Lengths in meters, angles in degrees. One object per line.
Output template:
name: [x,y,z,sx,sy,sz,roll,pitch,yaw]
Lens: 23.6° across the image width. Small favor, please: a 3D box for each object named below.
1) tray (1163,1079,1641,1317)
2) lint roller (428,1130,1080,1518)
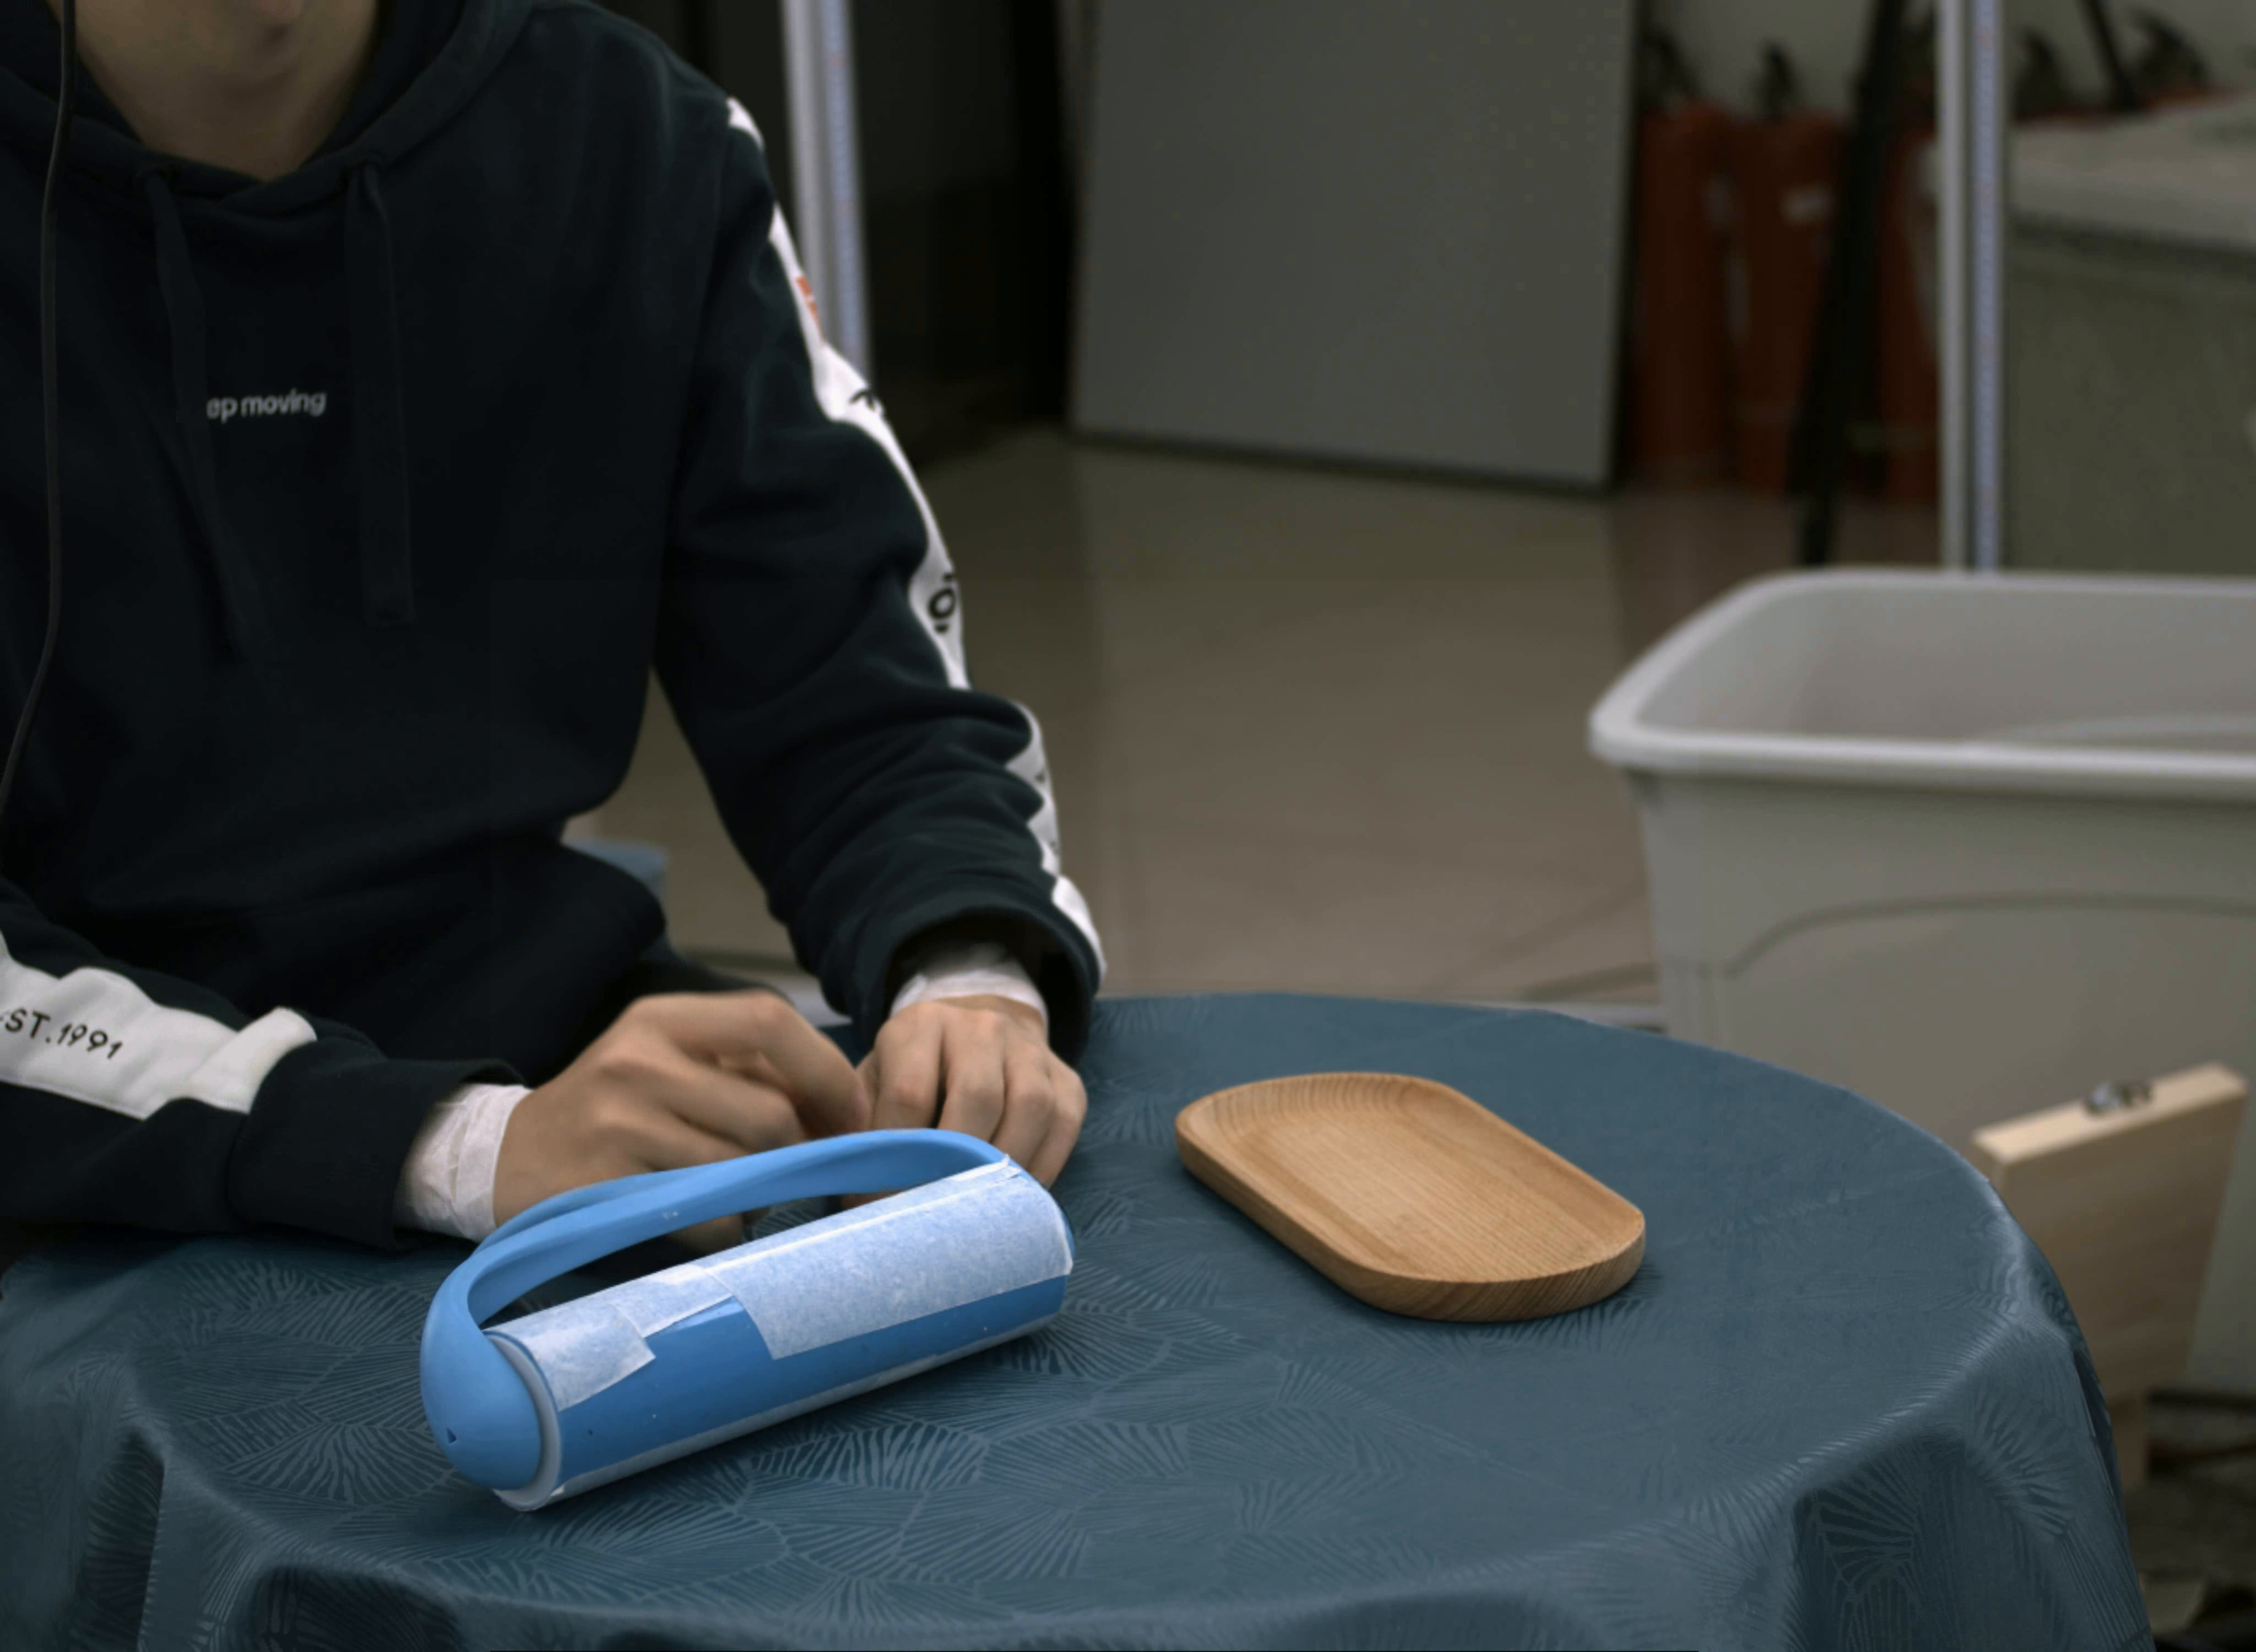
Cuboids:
tray: [0.086,0.117,1.728,0.099,0.020,0.233,-8,13,-20]
lint roller: [-0.145,0.138,1.623,0.224,0.068,0.182,-19,21,-41]
